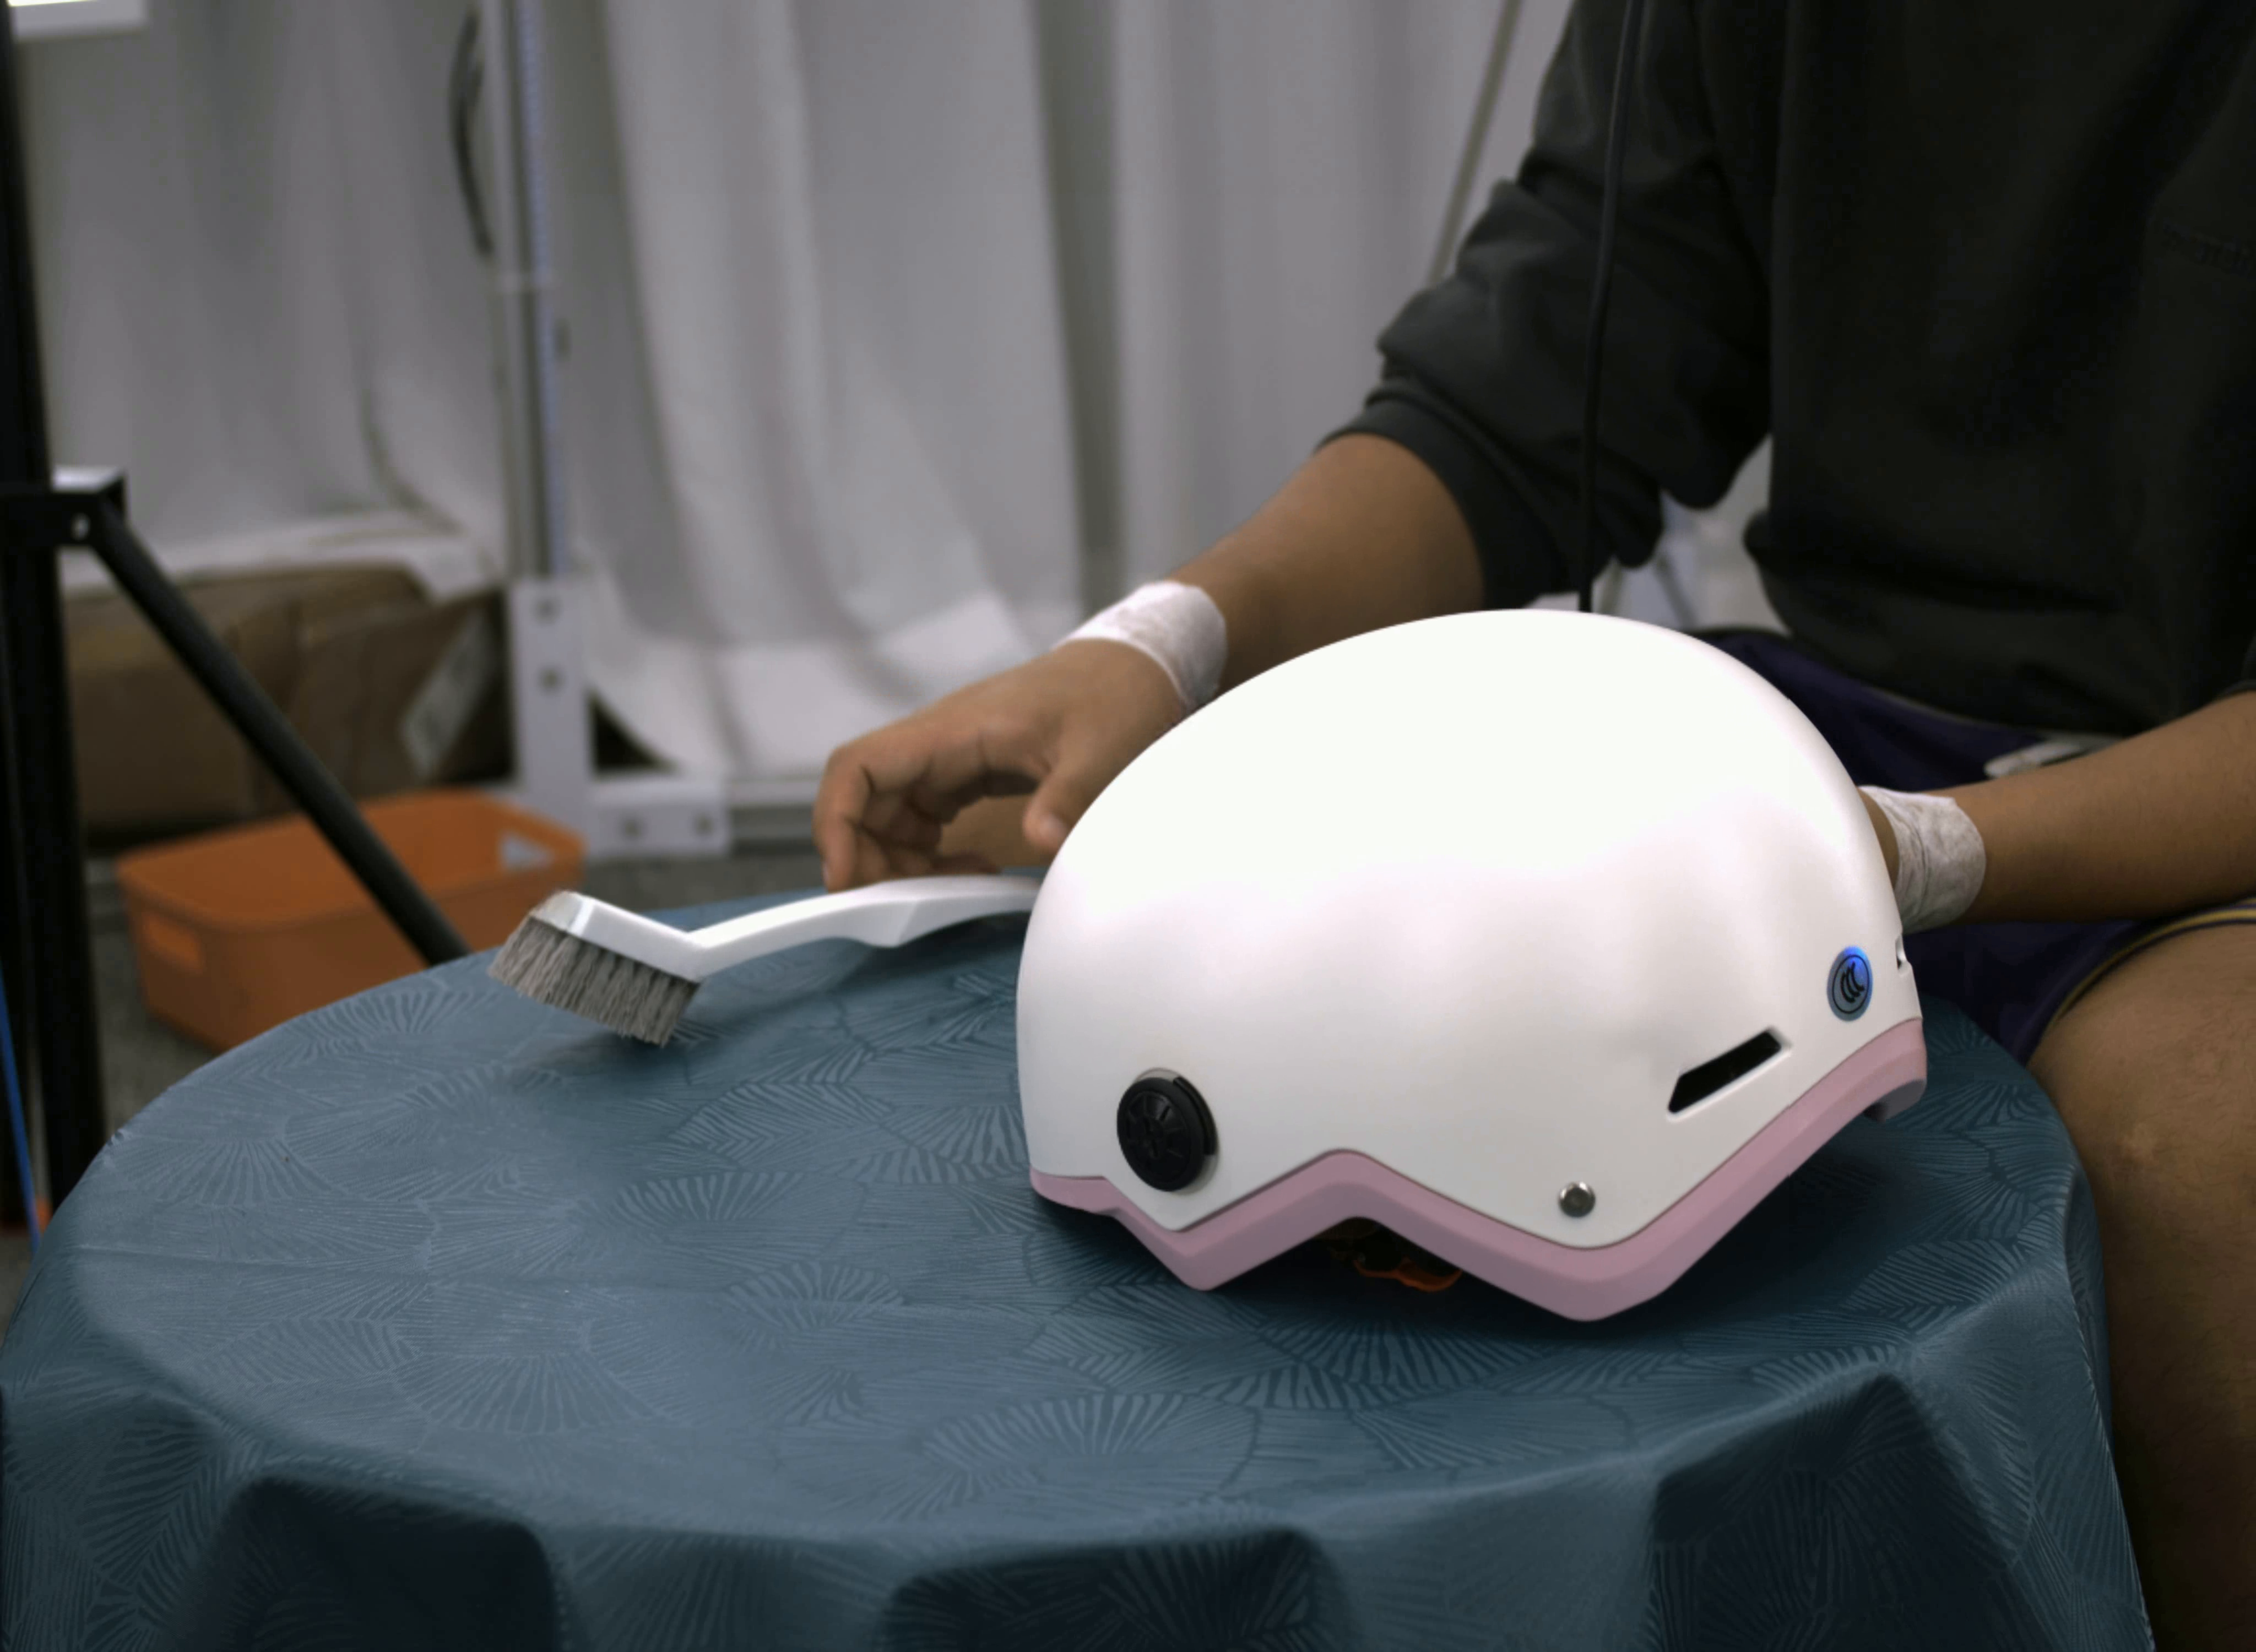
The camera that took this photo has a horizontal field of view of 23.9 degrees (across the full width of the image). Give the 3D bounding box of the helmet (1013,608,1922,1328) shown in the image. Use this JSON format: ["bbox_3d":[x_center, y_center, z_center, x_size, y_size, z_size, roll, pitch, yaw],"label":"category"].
[{"bbox_3d":[0.089,0.023,1.518,0.274,0.167,0.232,6,22,38],"label":"helmet"}]

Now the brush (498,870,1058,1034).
[{"bbox_3d":[-0.105,0.042,1.768,0.237,0.050,0.035,0,14,-44],"label":"brush"}]
